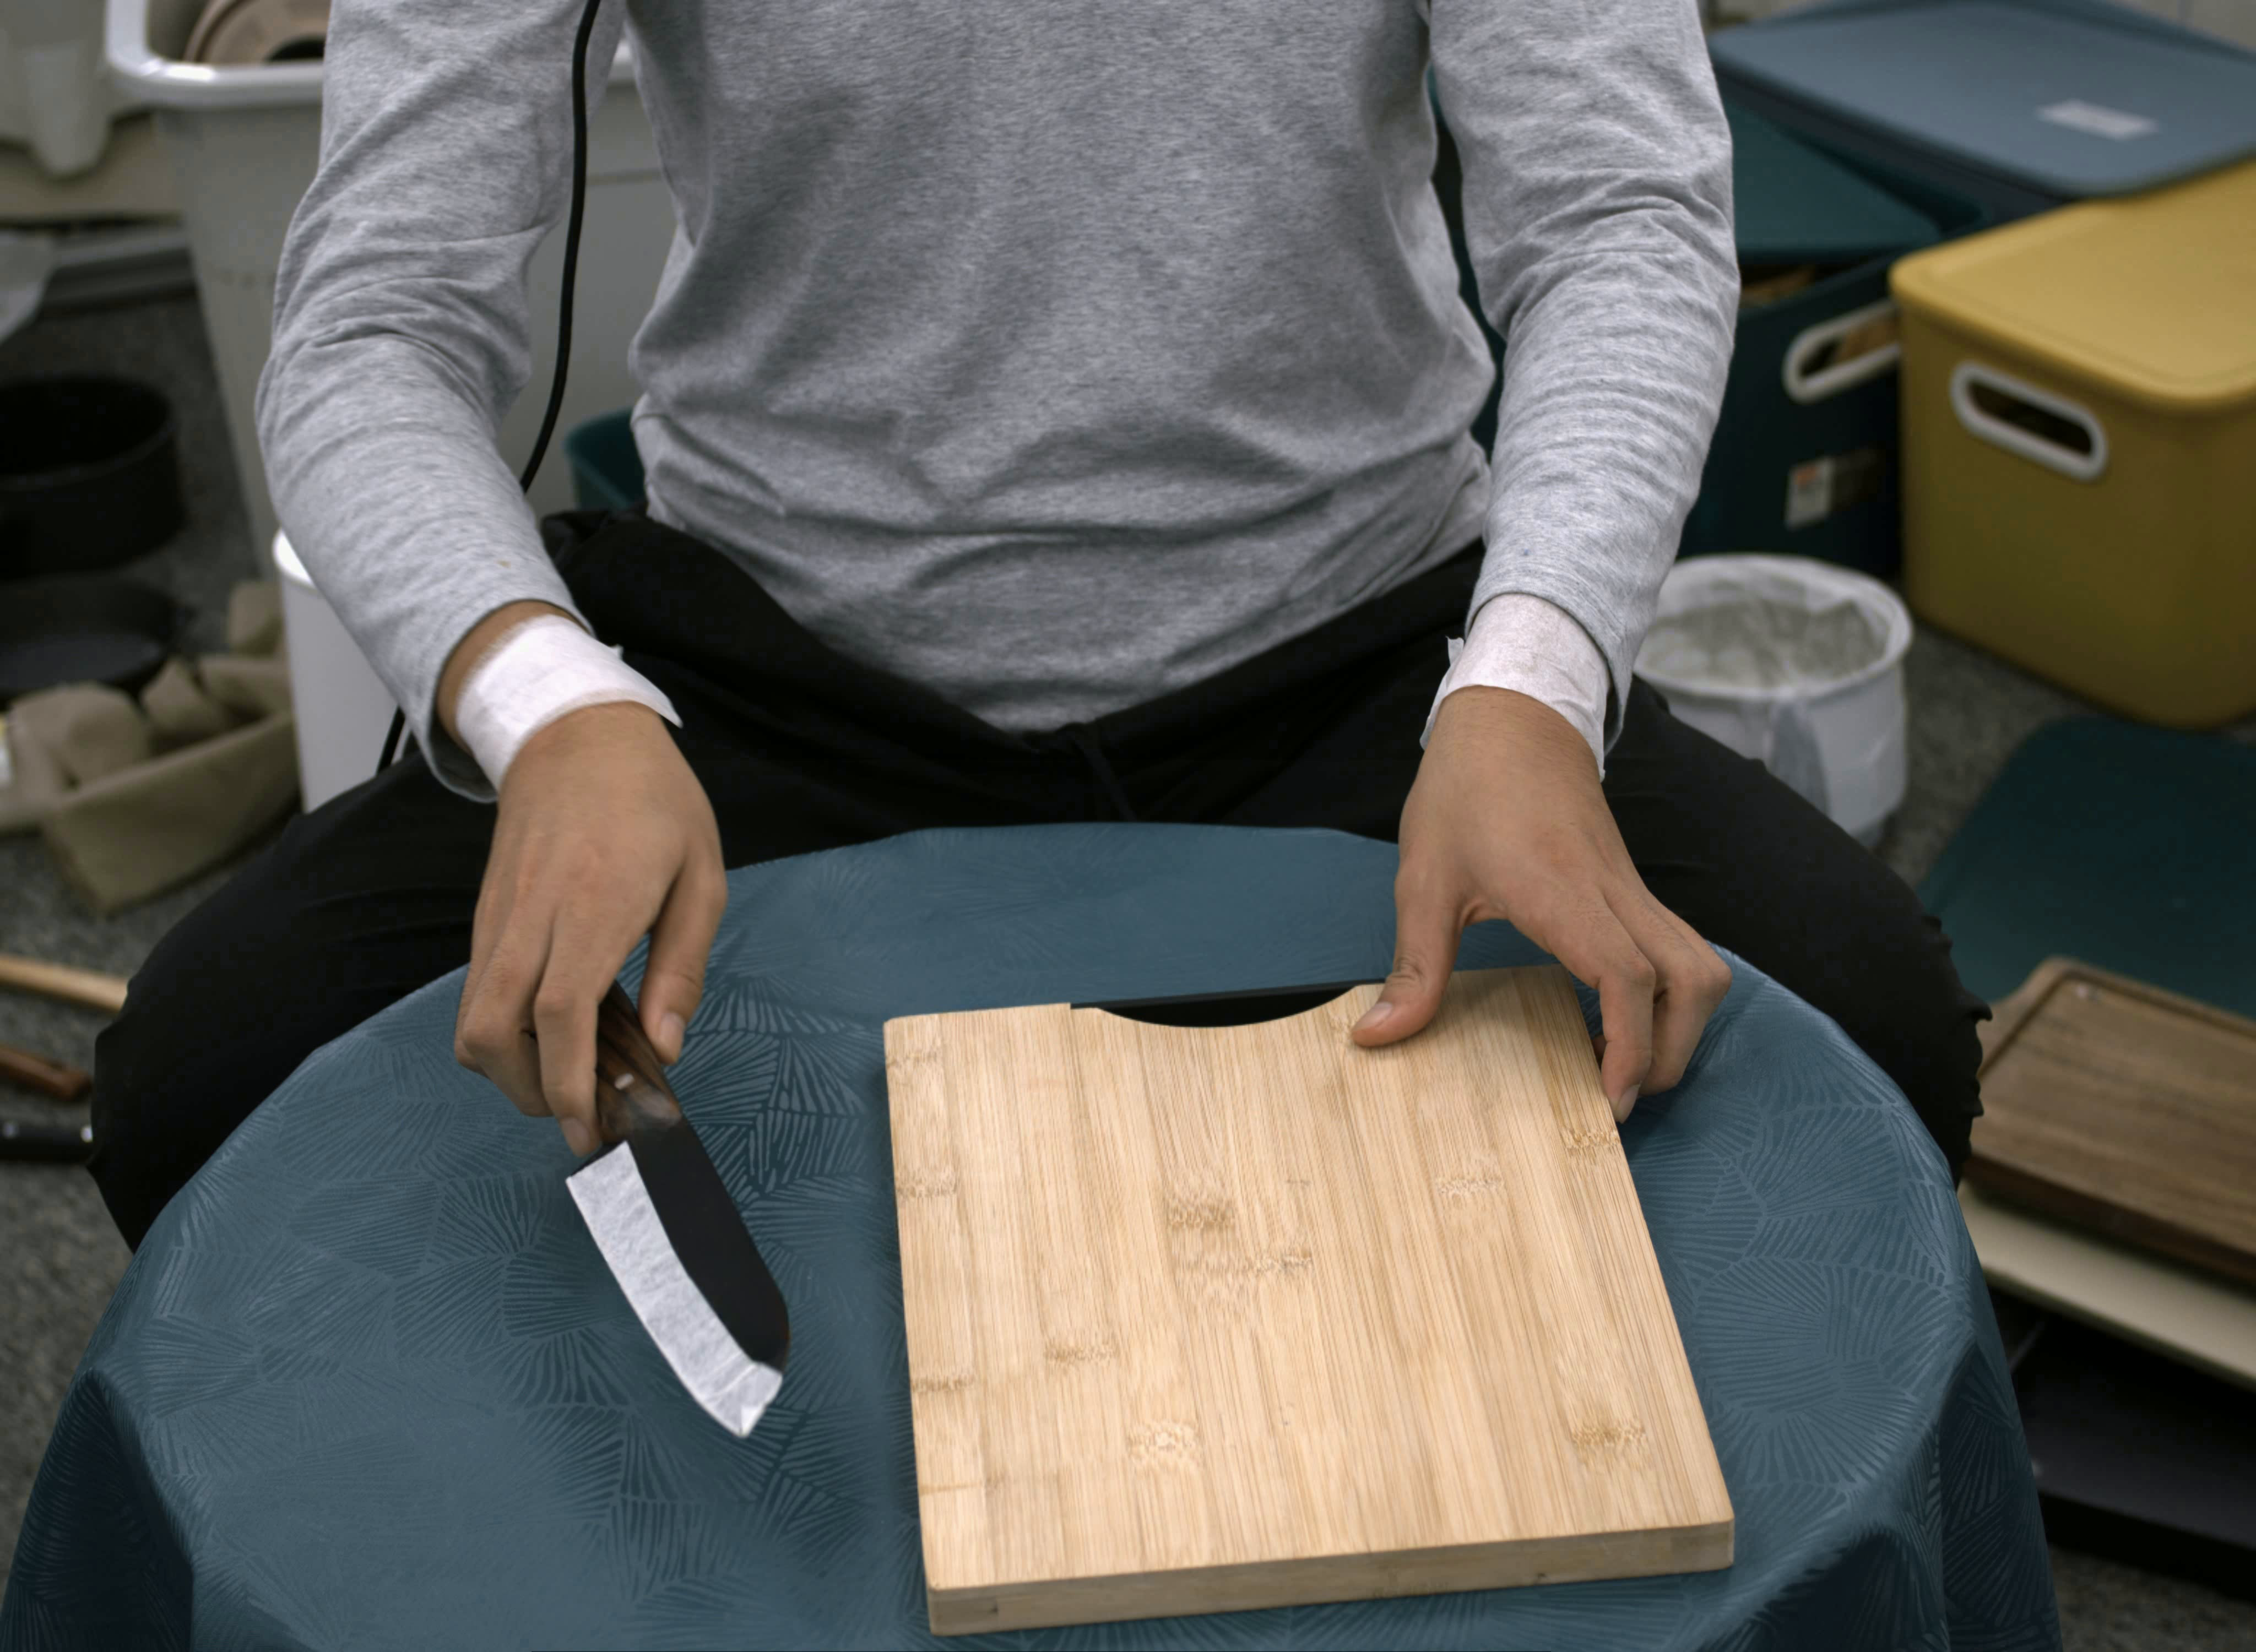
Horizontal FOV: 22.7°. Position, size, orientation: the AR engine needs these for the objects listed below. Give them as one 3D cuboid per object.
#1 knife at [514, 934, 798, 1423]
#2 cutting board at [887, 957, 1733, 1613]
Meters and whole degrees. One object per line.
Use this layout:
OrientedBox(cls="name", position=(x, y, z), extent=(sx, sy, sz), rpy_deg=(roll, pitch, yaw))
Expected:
OrientedBox(cls="knife", position=(-0.151, 0.109, 1.770), extent=(0.050, 0.020, 0.292), rpy_deg=(-34, 32, 0))
OrientedBox(cls="cutting board", position=(0.047, 0.141, 1.802), extent=(0.250, 0.023, 0.353), rpy_deg=(-4, 27, -4))
